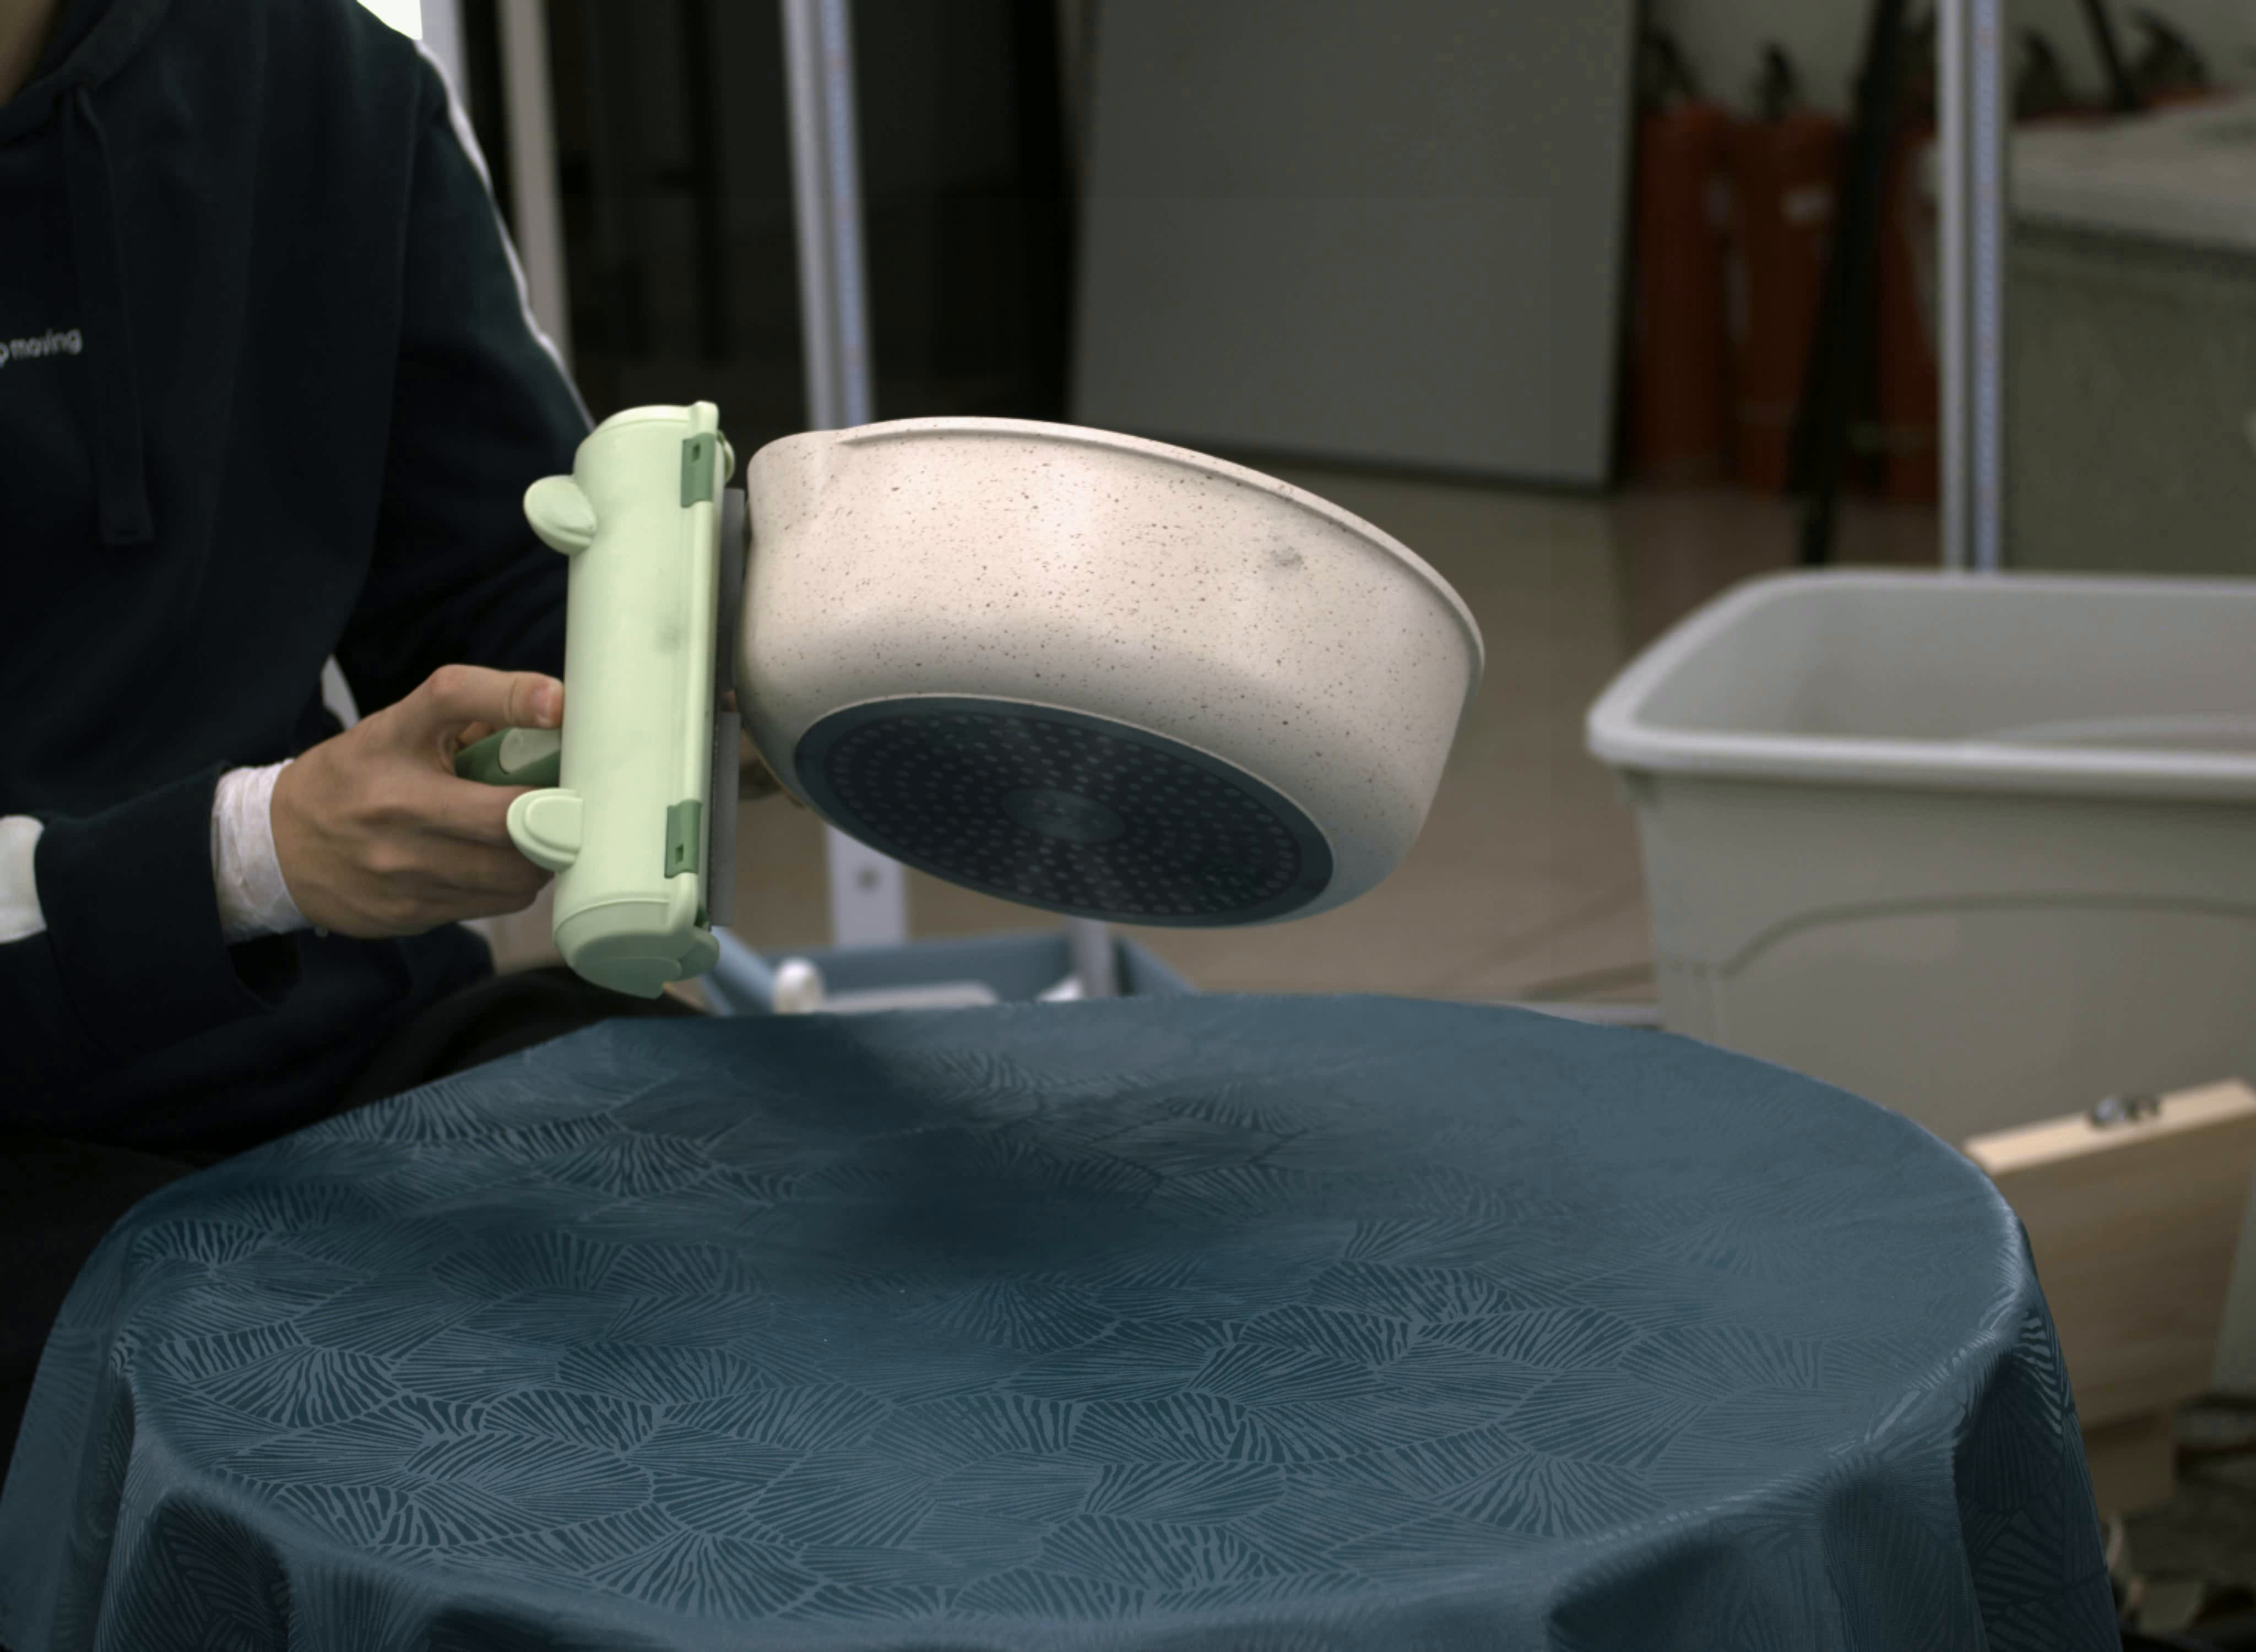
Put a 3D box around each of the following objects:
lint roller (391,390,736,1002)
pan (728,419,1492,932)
[{"bbox_3d":[-0.201,-0.028,1.778,0.184,0.201,0.080,-23,-34,37],"label":"lint roller"},{"bbox_3d":[-0.052,-0.024,1.849,0.258,0.103,0.439,20,-22,-23],"label":"pan"}]
